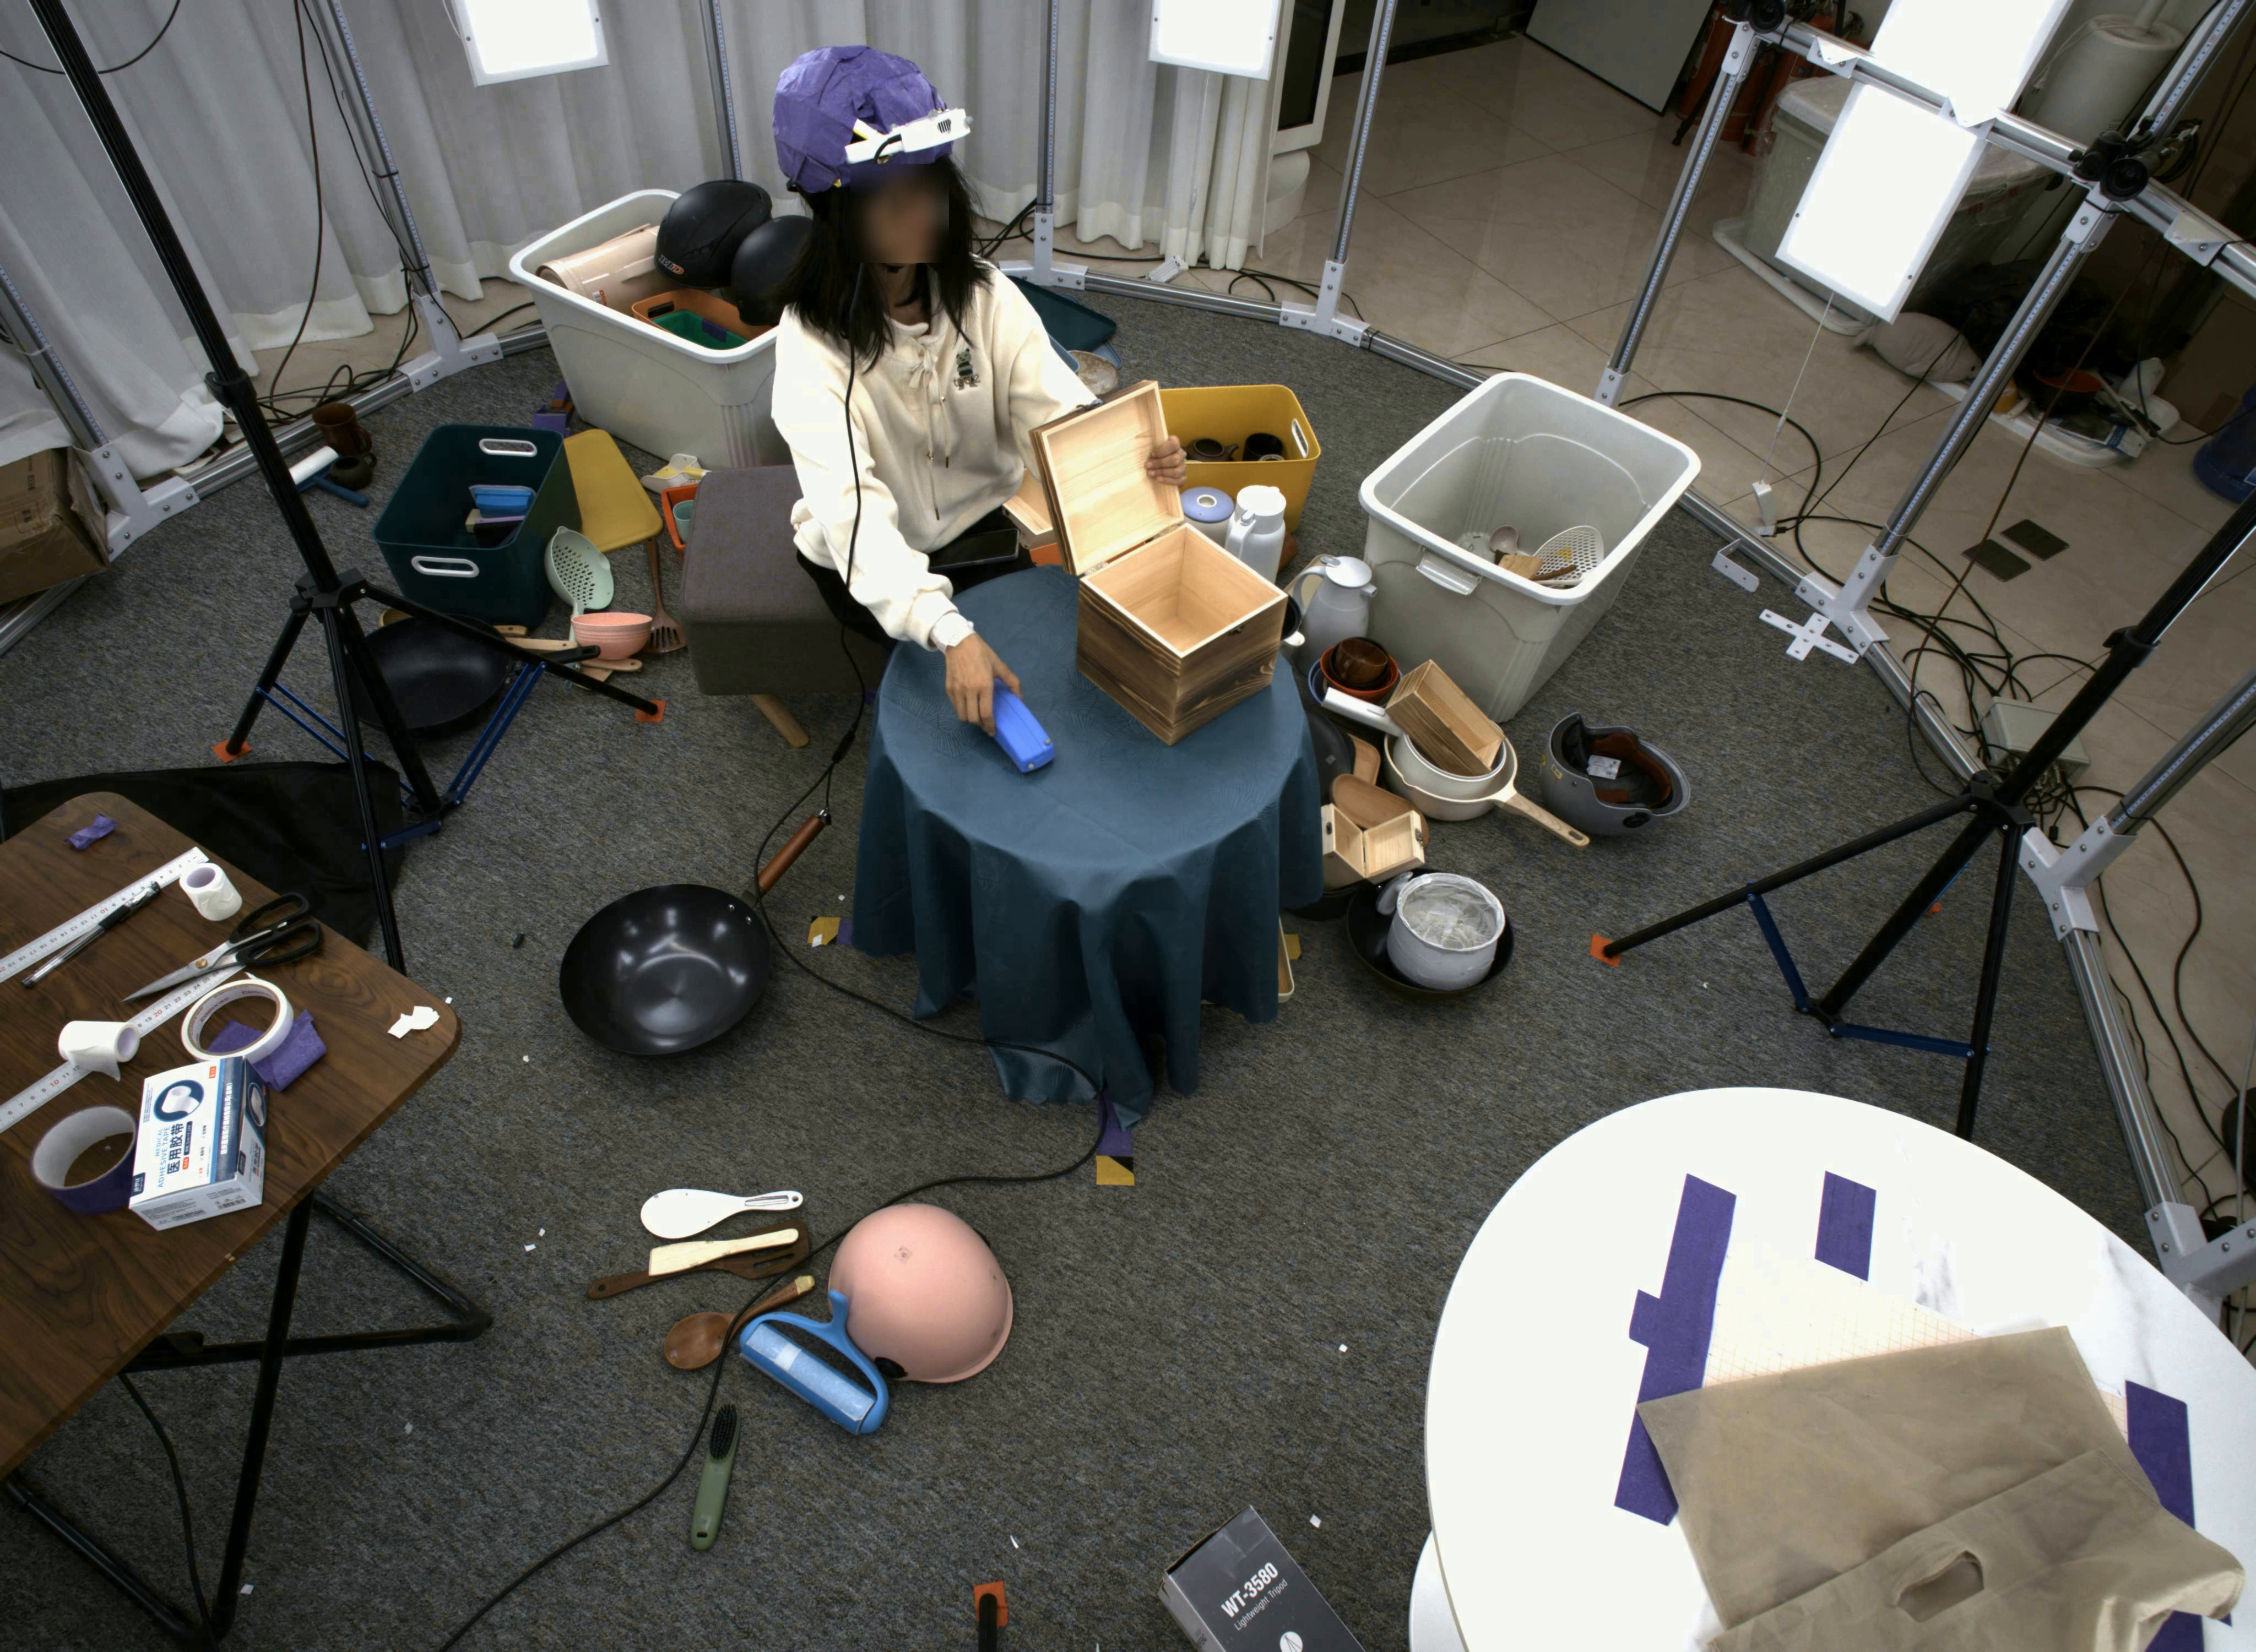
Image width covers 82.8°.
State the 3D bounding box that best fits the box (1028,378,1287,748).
[{"bbox_3d":[0.040,-0.360,1.755,0.210,0.366,0.327,-33,57,-27],"label":"box"}]

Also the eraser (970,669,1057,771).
[{"bbox_3d":[-0.157,-0.150,1.748,0.054,0.046,0.165,-29,59,-12],"label":"eraser"}]
